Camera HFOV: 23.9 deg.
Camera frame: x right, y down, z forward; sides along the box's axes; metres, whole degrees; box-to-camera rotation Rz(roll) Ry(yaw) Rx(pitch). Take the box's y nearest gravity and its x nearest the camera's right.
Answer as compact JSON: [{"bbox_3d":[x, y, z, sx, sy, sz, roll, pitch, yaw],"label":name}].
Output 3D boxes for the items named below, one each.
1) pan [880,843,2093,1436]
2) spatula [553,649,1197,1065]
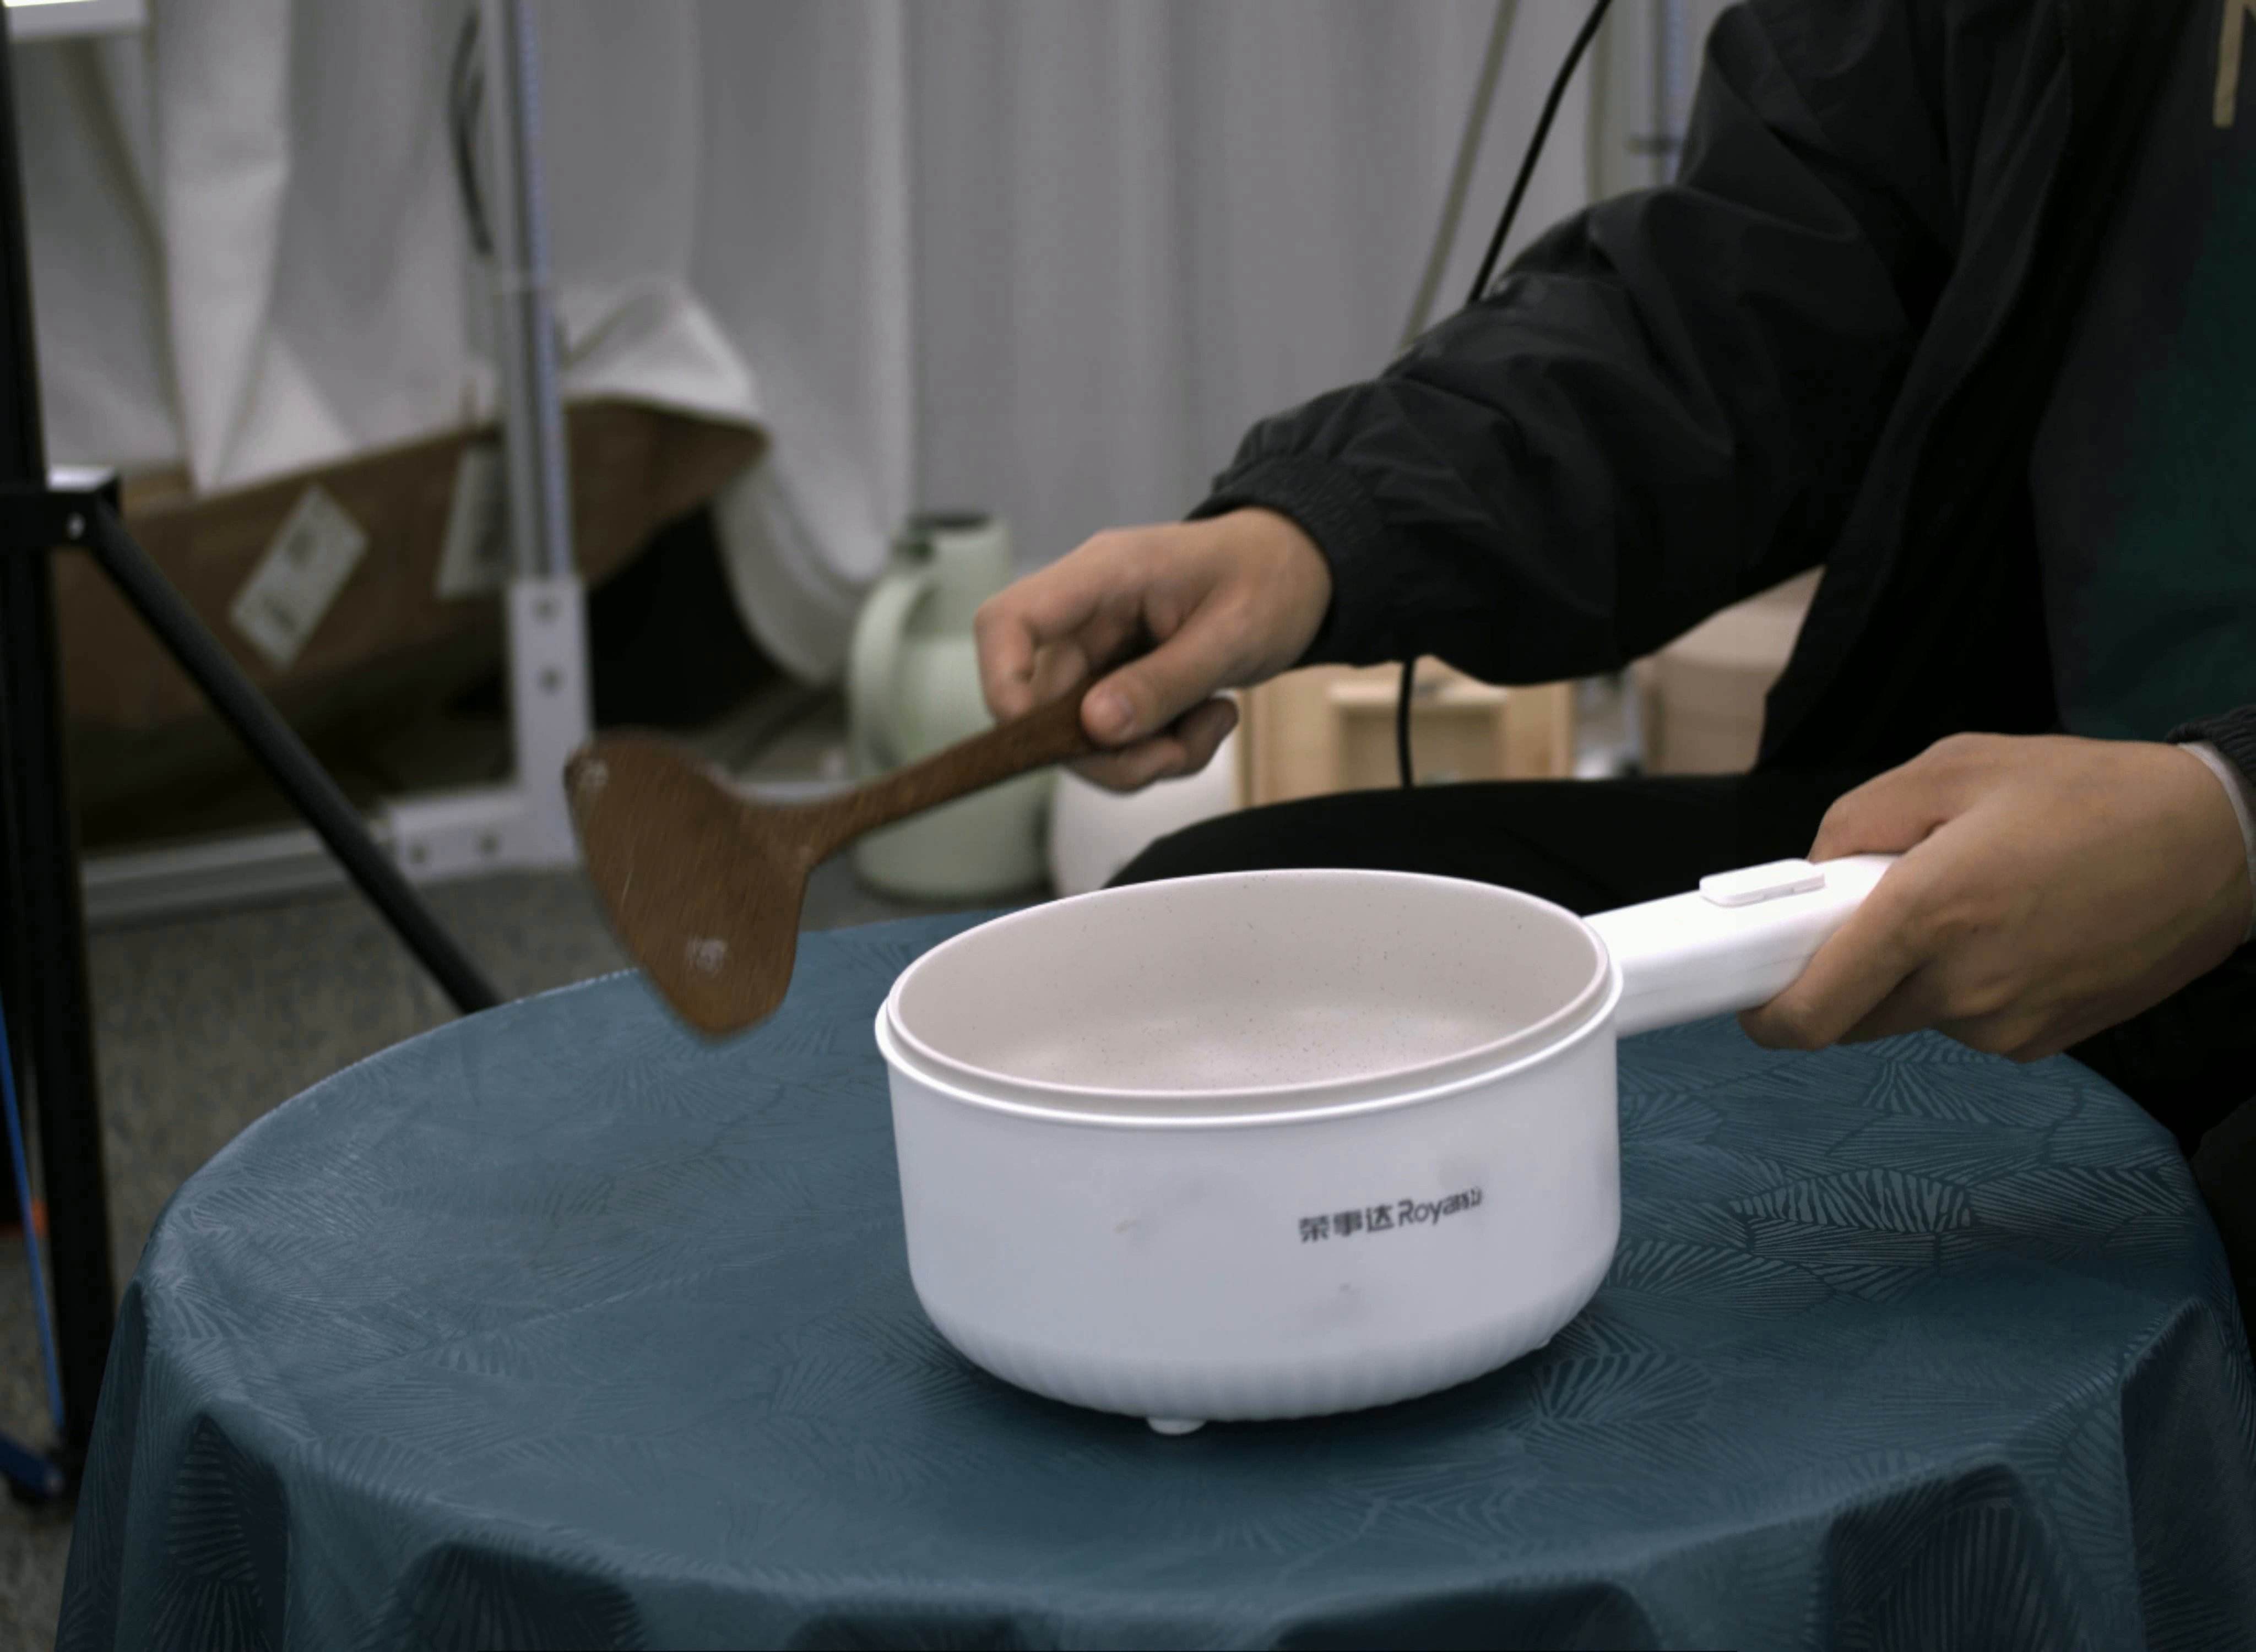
[{"bbox_3d":[0.105,0.079,1.456,0.348,0.102,0.205,-9,16,-21],"label":"pan"},{"bbox_3d":[-0.064,-0.009,1.650,0.016,0.096,0.379,-30,-2,30],"label":"spatula"}]
